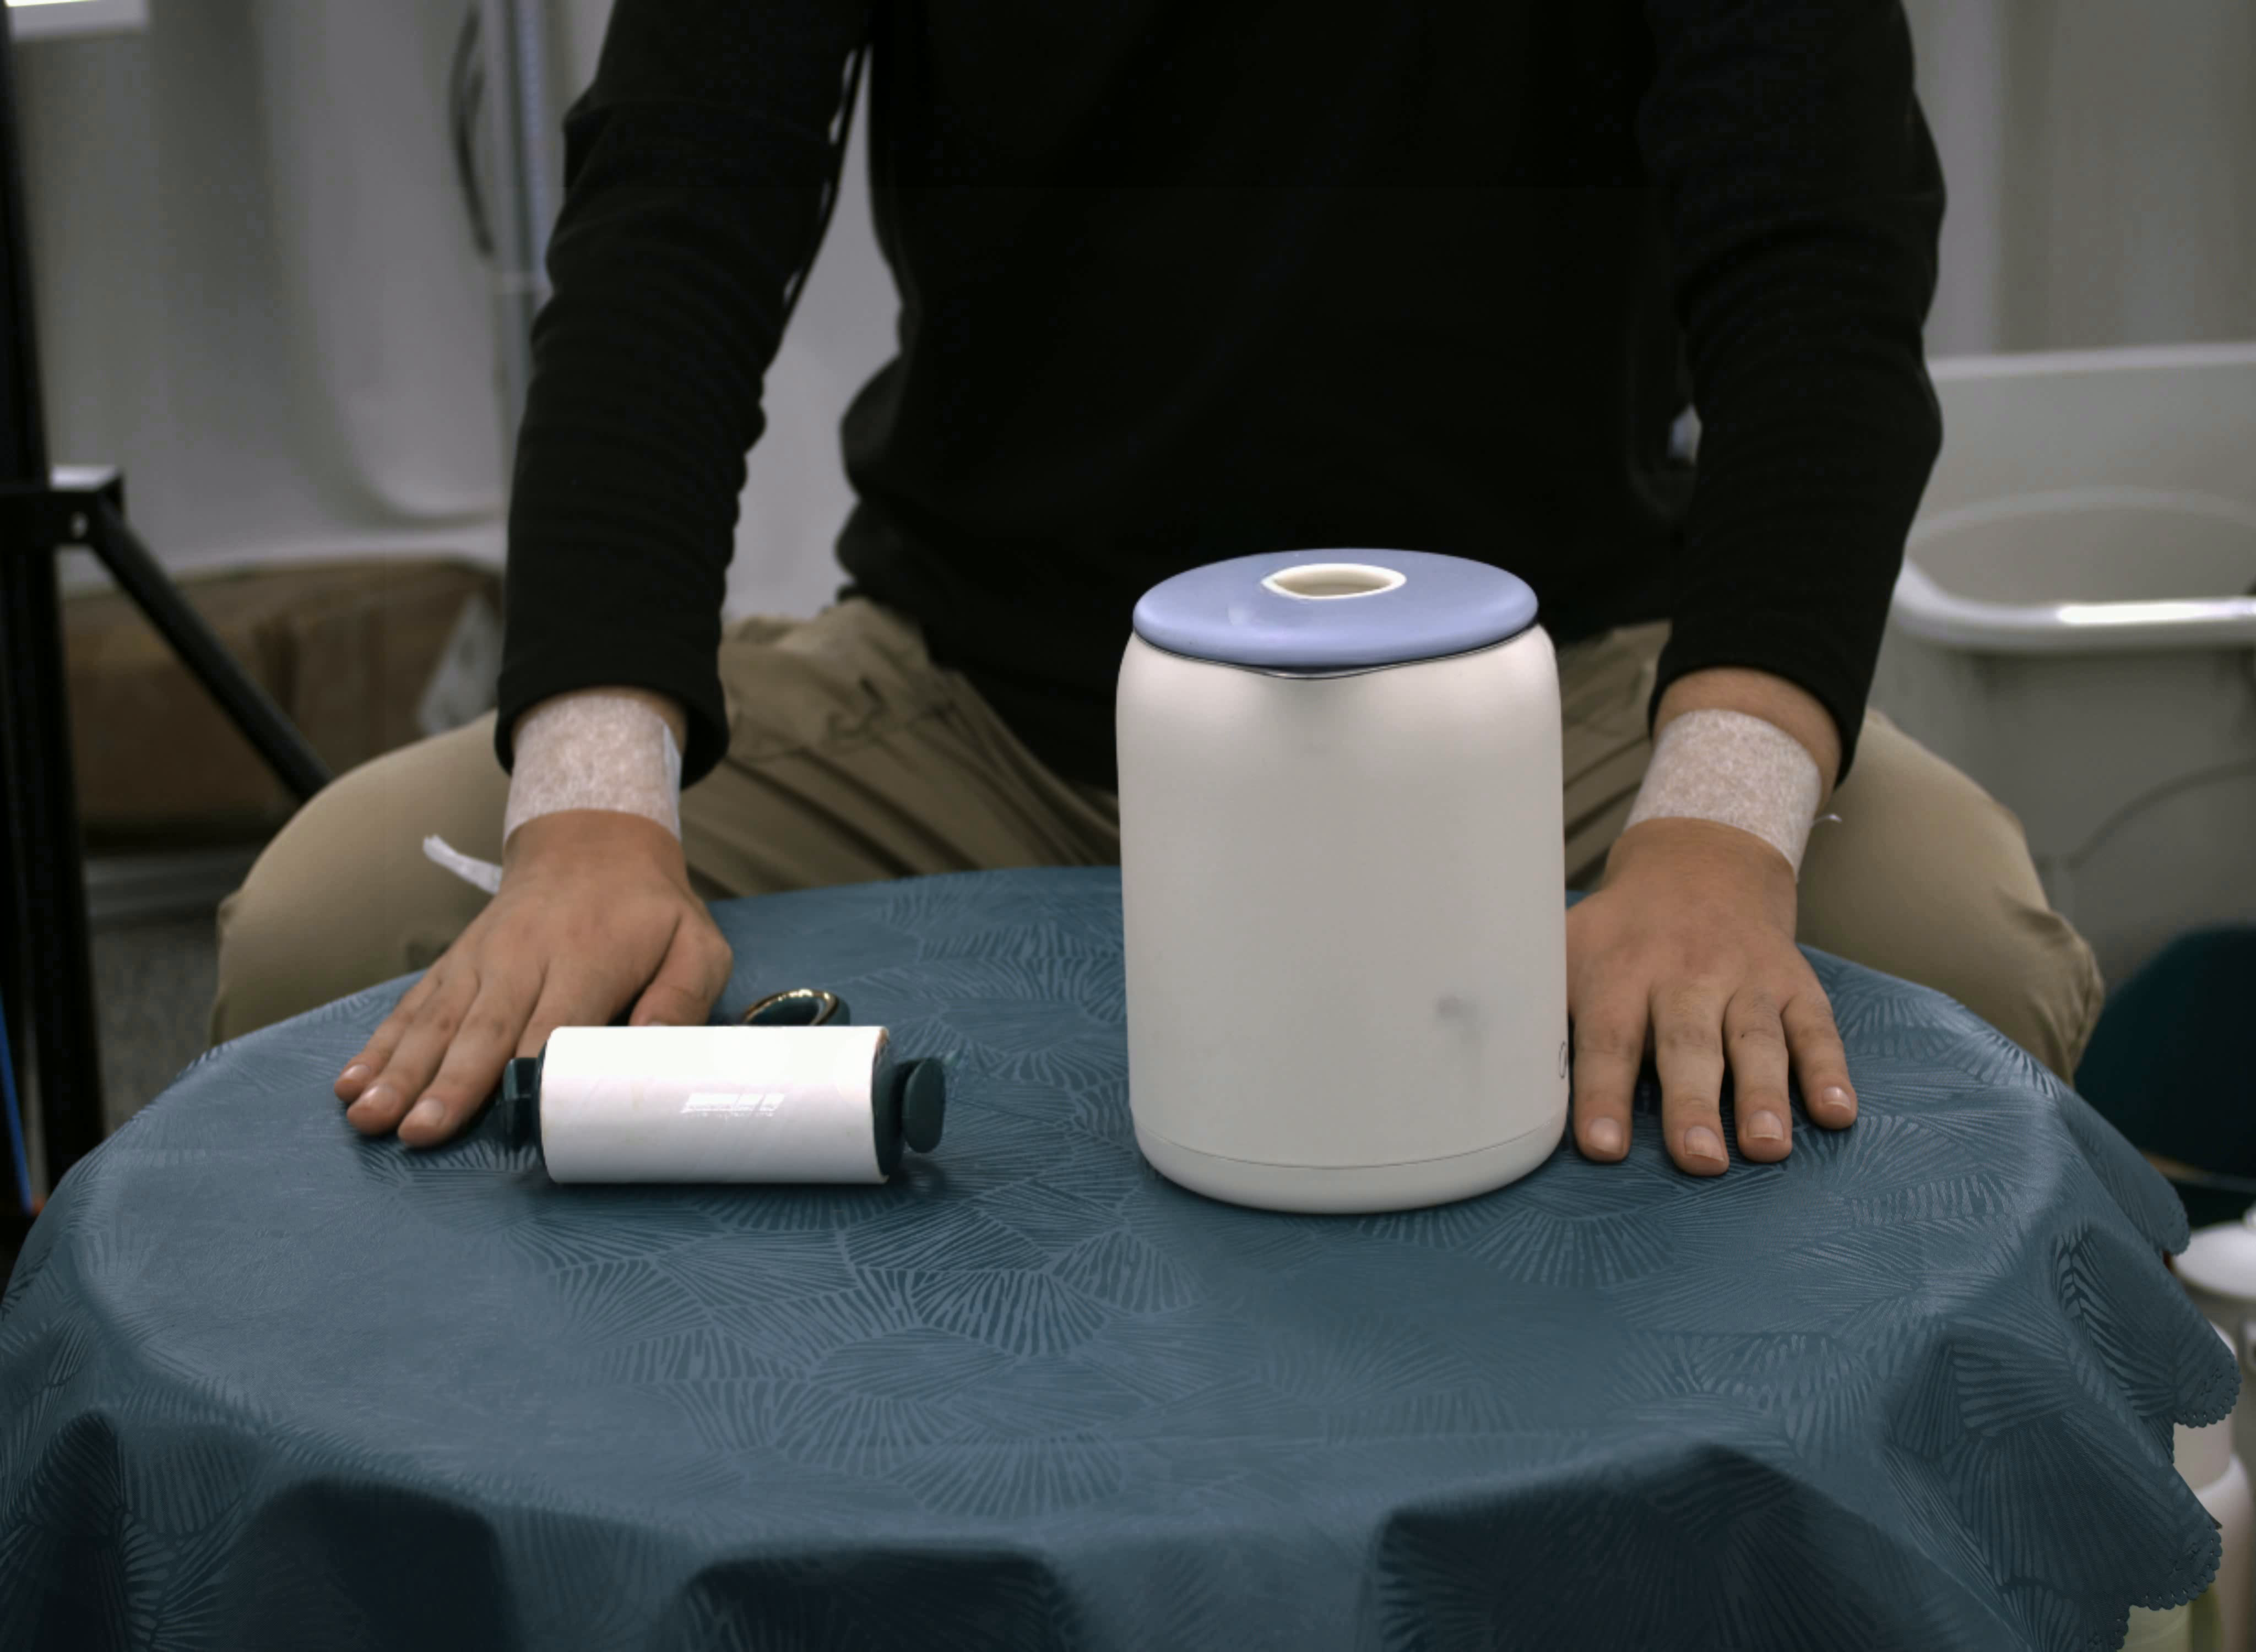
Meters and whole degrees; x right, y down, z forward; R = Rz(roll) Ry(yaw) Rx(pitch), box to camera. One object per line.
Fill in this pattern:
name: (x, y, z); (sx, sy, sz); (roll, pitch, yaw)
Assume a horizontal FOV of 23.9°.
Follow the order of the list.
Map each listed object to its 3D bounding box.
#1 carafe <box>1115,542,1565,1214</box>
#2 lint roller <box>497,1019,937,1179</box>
carafe: (0.066, 0.008, 1.585); (0.132, 0.182, 0.190); (0, 13, 7)
lint roller: (-0.115, 0.067, 1.646); (0.134, 0.048, 0.179); (-1, 12, 7)
